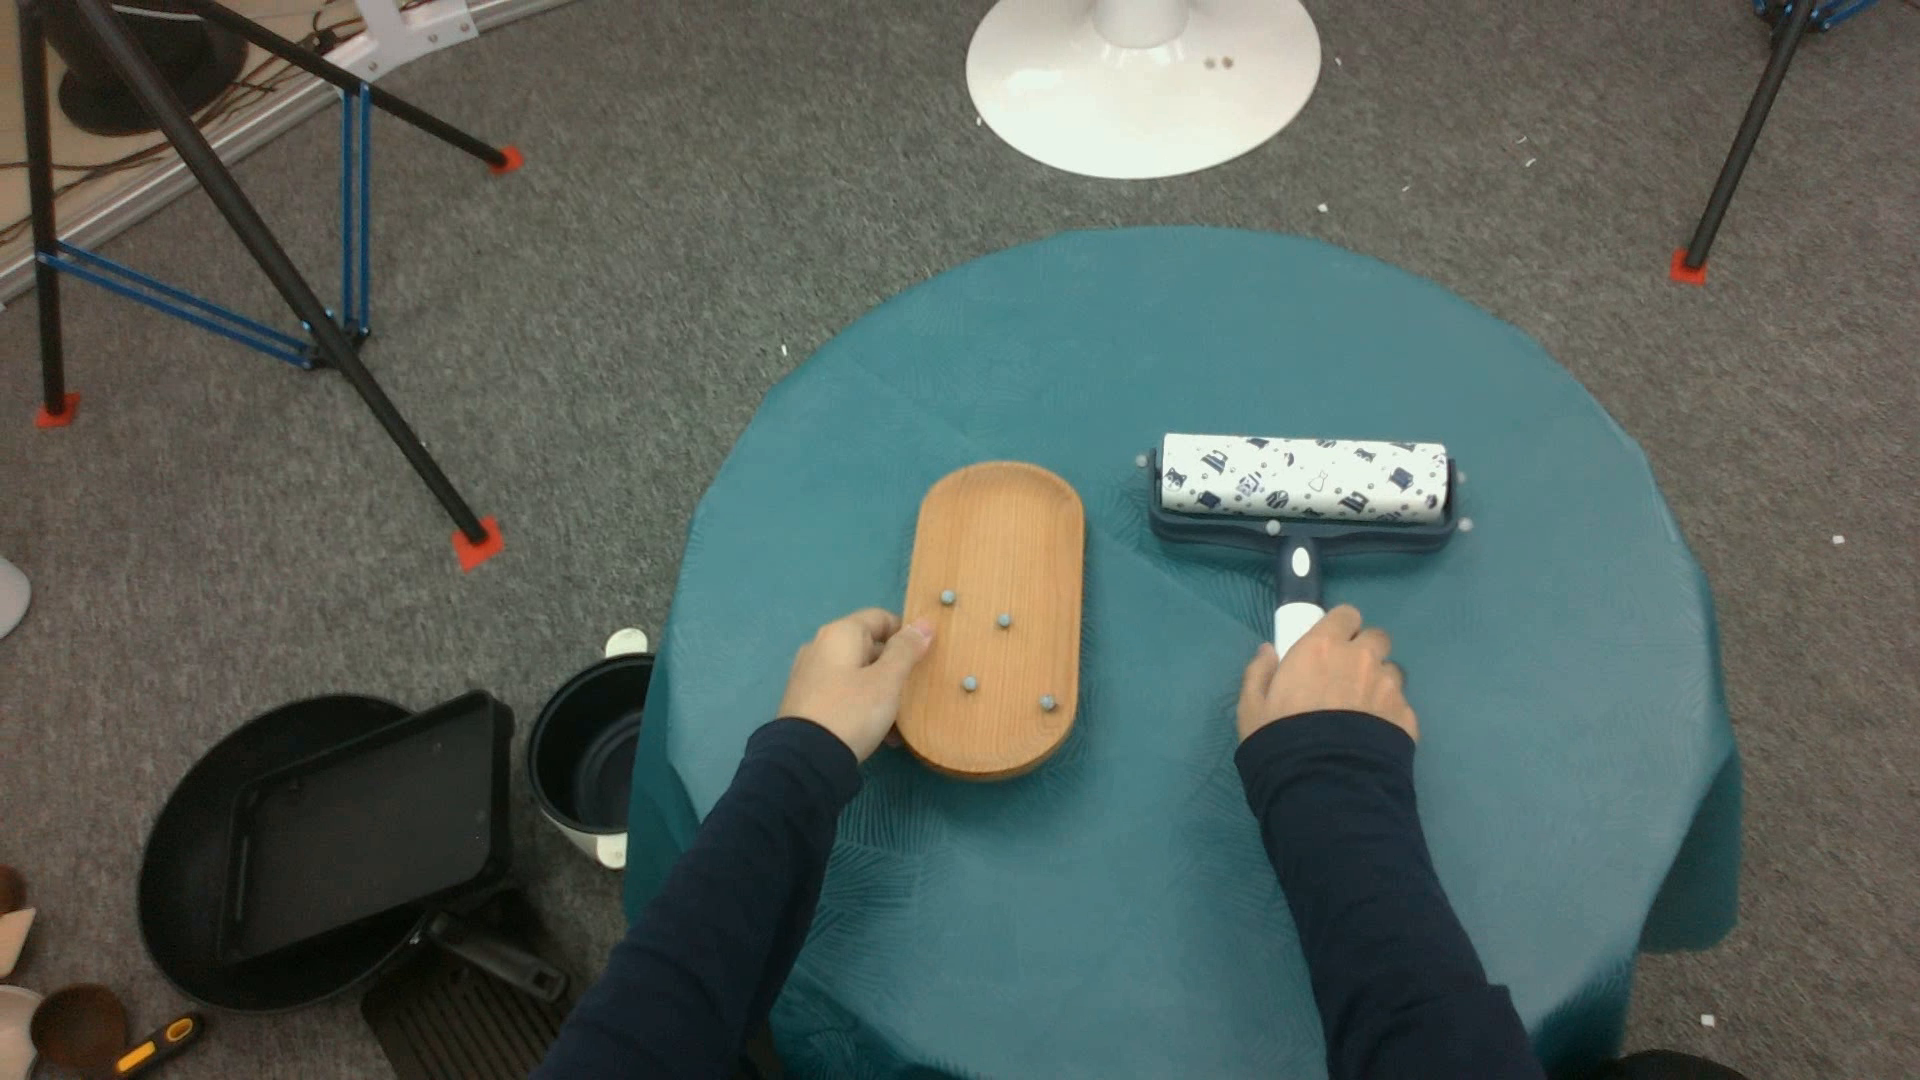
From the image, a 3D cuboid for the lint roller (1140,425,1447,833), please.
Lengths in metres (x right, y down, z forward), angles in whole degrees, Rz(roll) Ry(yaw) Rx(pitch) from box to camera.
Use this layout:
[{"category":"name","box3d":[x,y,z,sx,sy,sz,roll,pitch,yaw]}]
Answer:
[{"category":"lint roller","box3d":[0.187,0.039,0.762,0.176,0.050,0.248,2,55,6]}]

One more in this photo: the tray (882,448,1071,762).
[{"category":"tray","box3d":[0.012,0.029,0.786,0.101,0.020,0.232,0,44,5]}]
